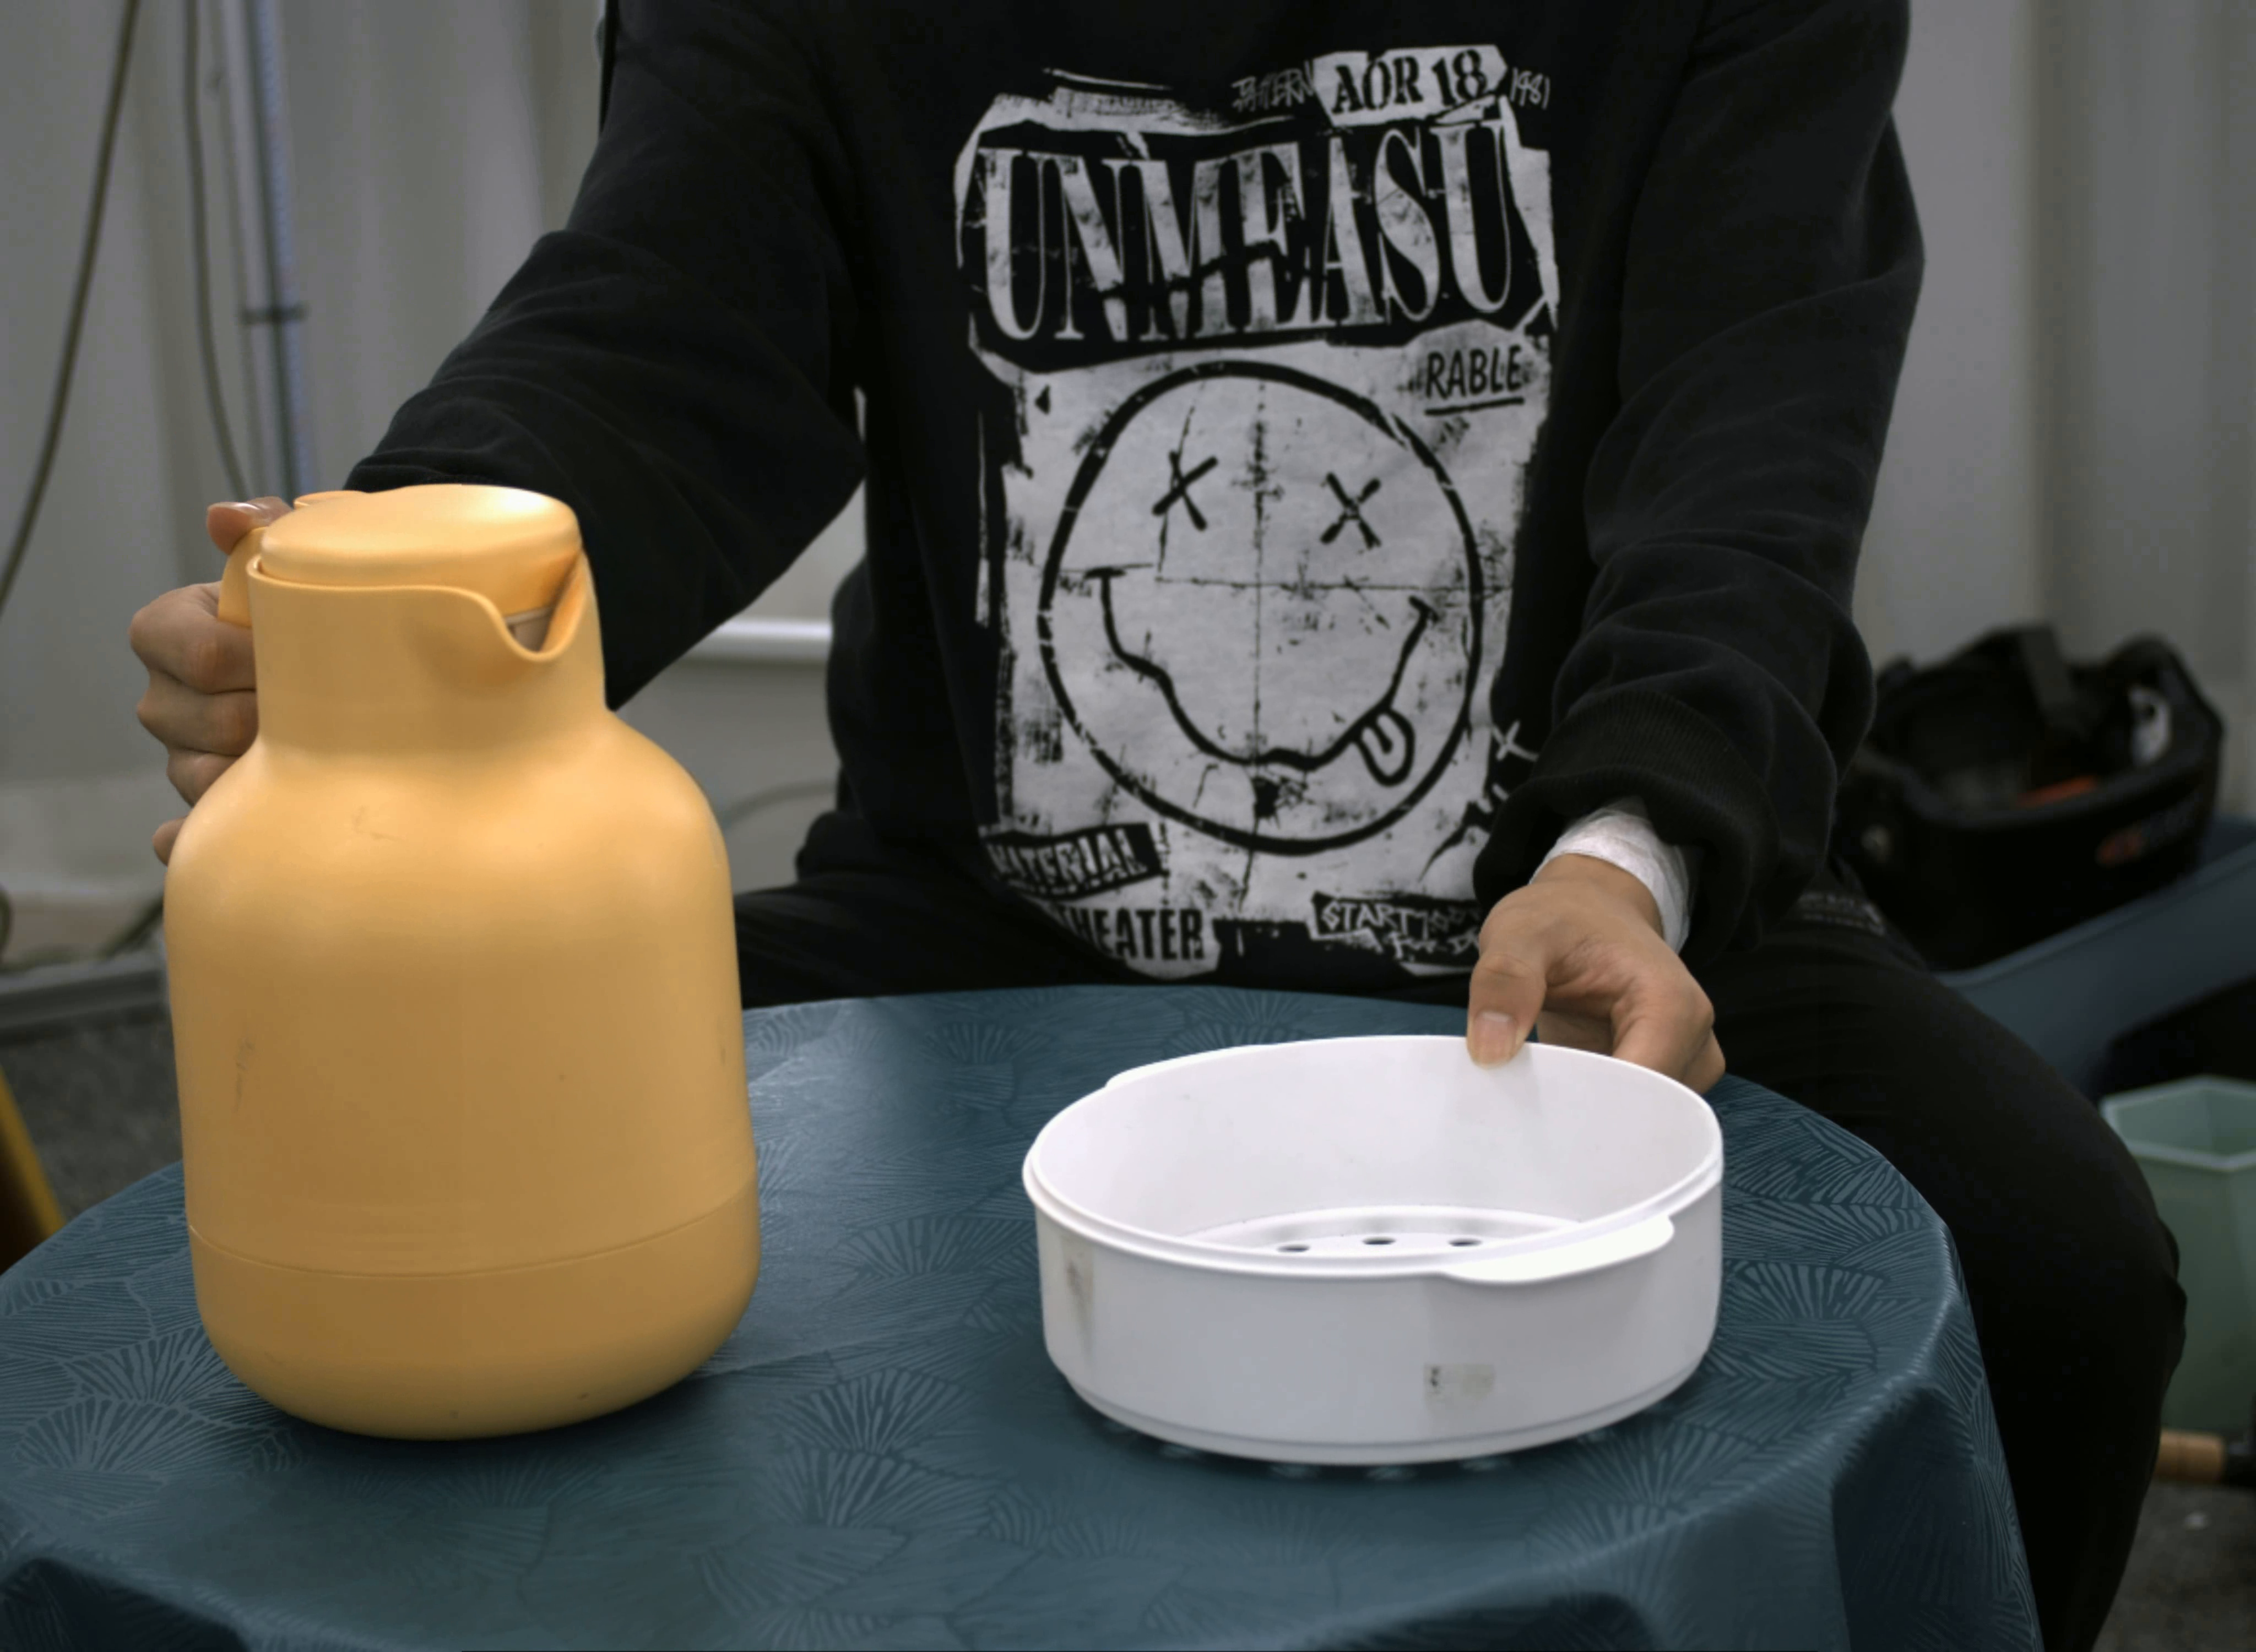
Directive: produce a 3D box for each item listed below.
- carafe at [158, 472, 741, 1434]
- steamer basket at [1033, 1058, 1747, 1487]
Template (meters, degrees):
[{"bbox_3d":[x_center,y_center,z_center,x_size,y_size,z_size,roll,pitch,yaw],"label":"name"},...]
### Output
[{"bbox_3d":[-0.202,0.028,1.571,0.162,0.259,0.204,-7,15,-30],"label":"carafe"},{"bbox_3d":[0.075,0.126,1.545,0.201,0.069,0.232,-11,16,-26],"label":"steamer basket"}]
